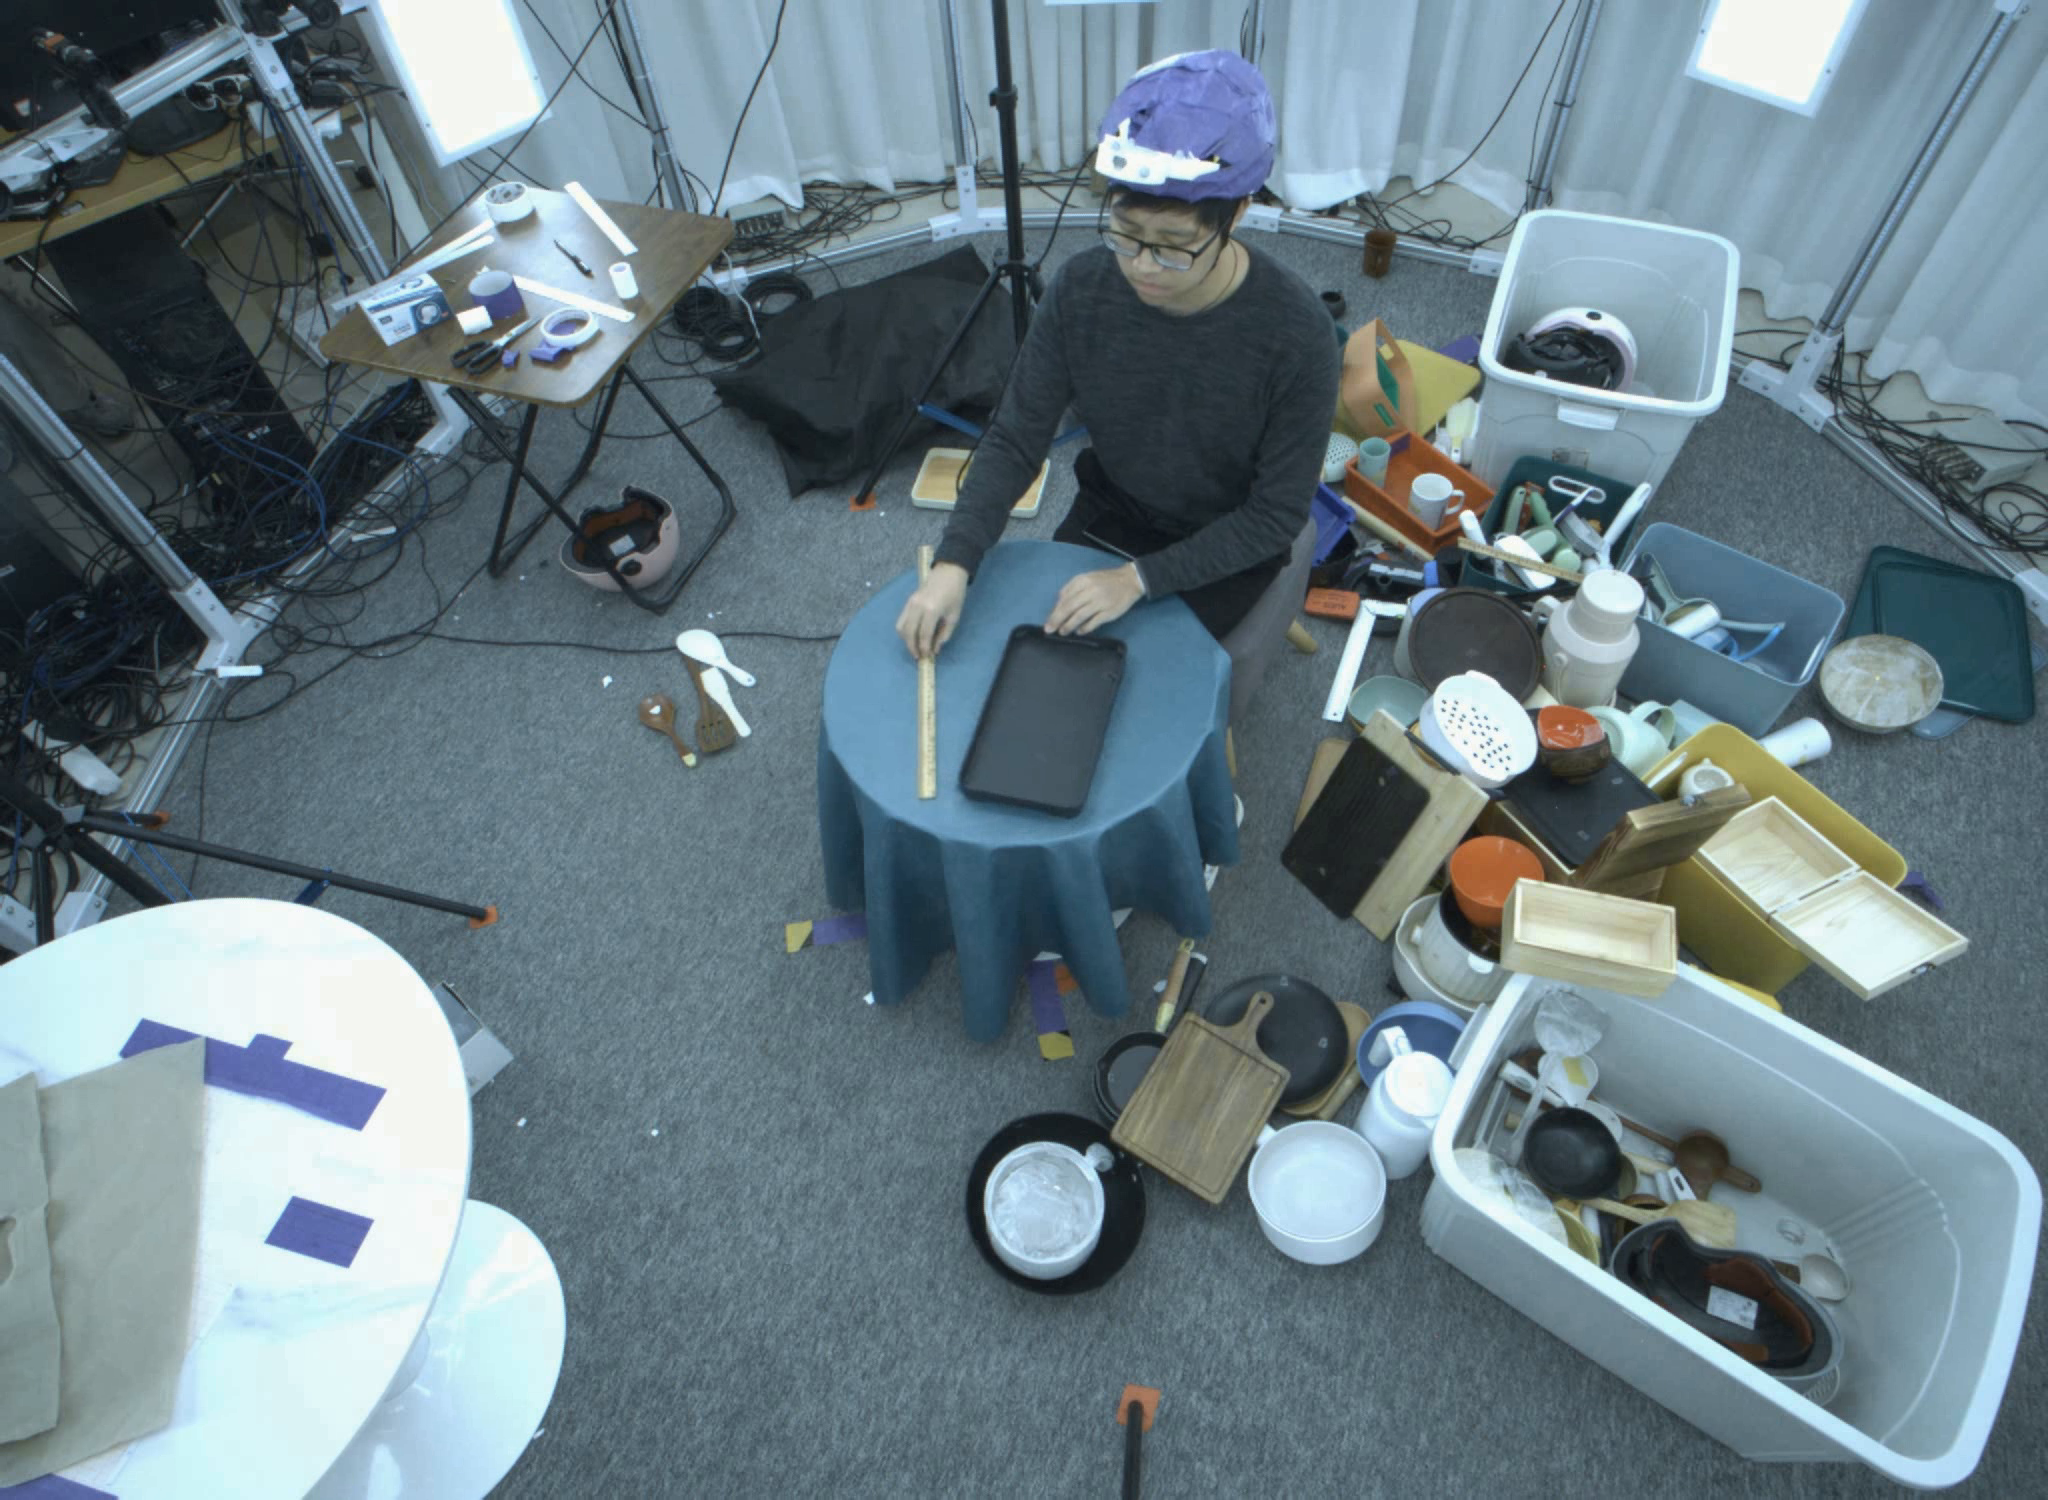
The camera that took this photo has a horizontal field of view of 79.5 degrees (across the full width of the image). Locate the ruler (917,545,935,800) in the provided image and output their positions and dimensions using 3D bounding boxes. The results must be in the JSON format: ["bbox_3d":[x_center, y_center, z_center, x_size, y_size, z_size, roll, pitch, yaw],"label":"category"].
[{"bbox_3d":[-0.149,-0.134,1.881,0.027,0.006,0.494,-7,55,5],"label":"ruler"}]

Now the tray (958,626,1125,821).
[{"bbox_3d":[0.030,-0.044,1.797,0.183,0.037,0.316,11,55,9],"label":"tray"}]
